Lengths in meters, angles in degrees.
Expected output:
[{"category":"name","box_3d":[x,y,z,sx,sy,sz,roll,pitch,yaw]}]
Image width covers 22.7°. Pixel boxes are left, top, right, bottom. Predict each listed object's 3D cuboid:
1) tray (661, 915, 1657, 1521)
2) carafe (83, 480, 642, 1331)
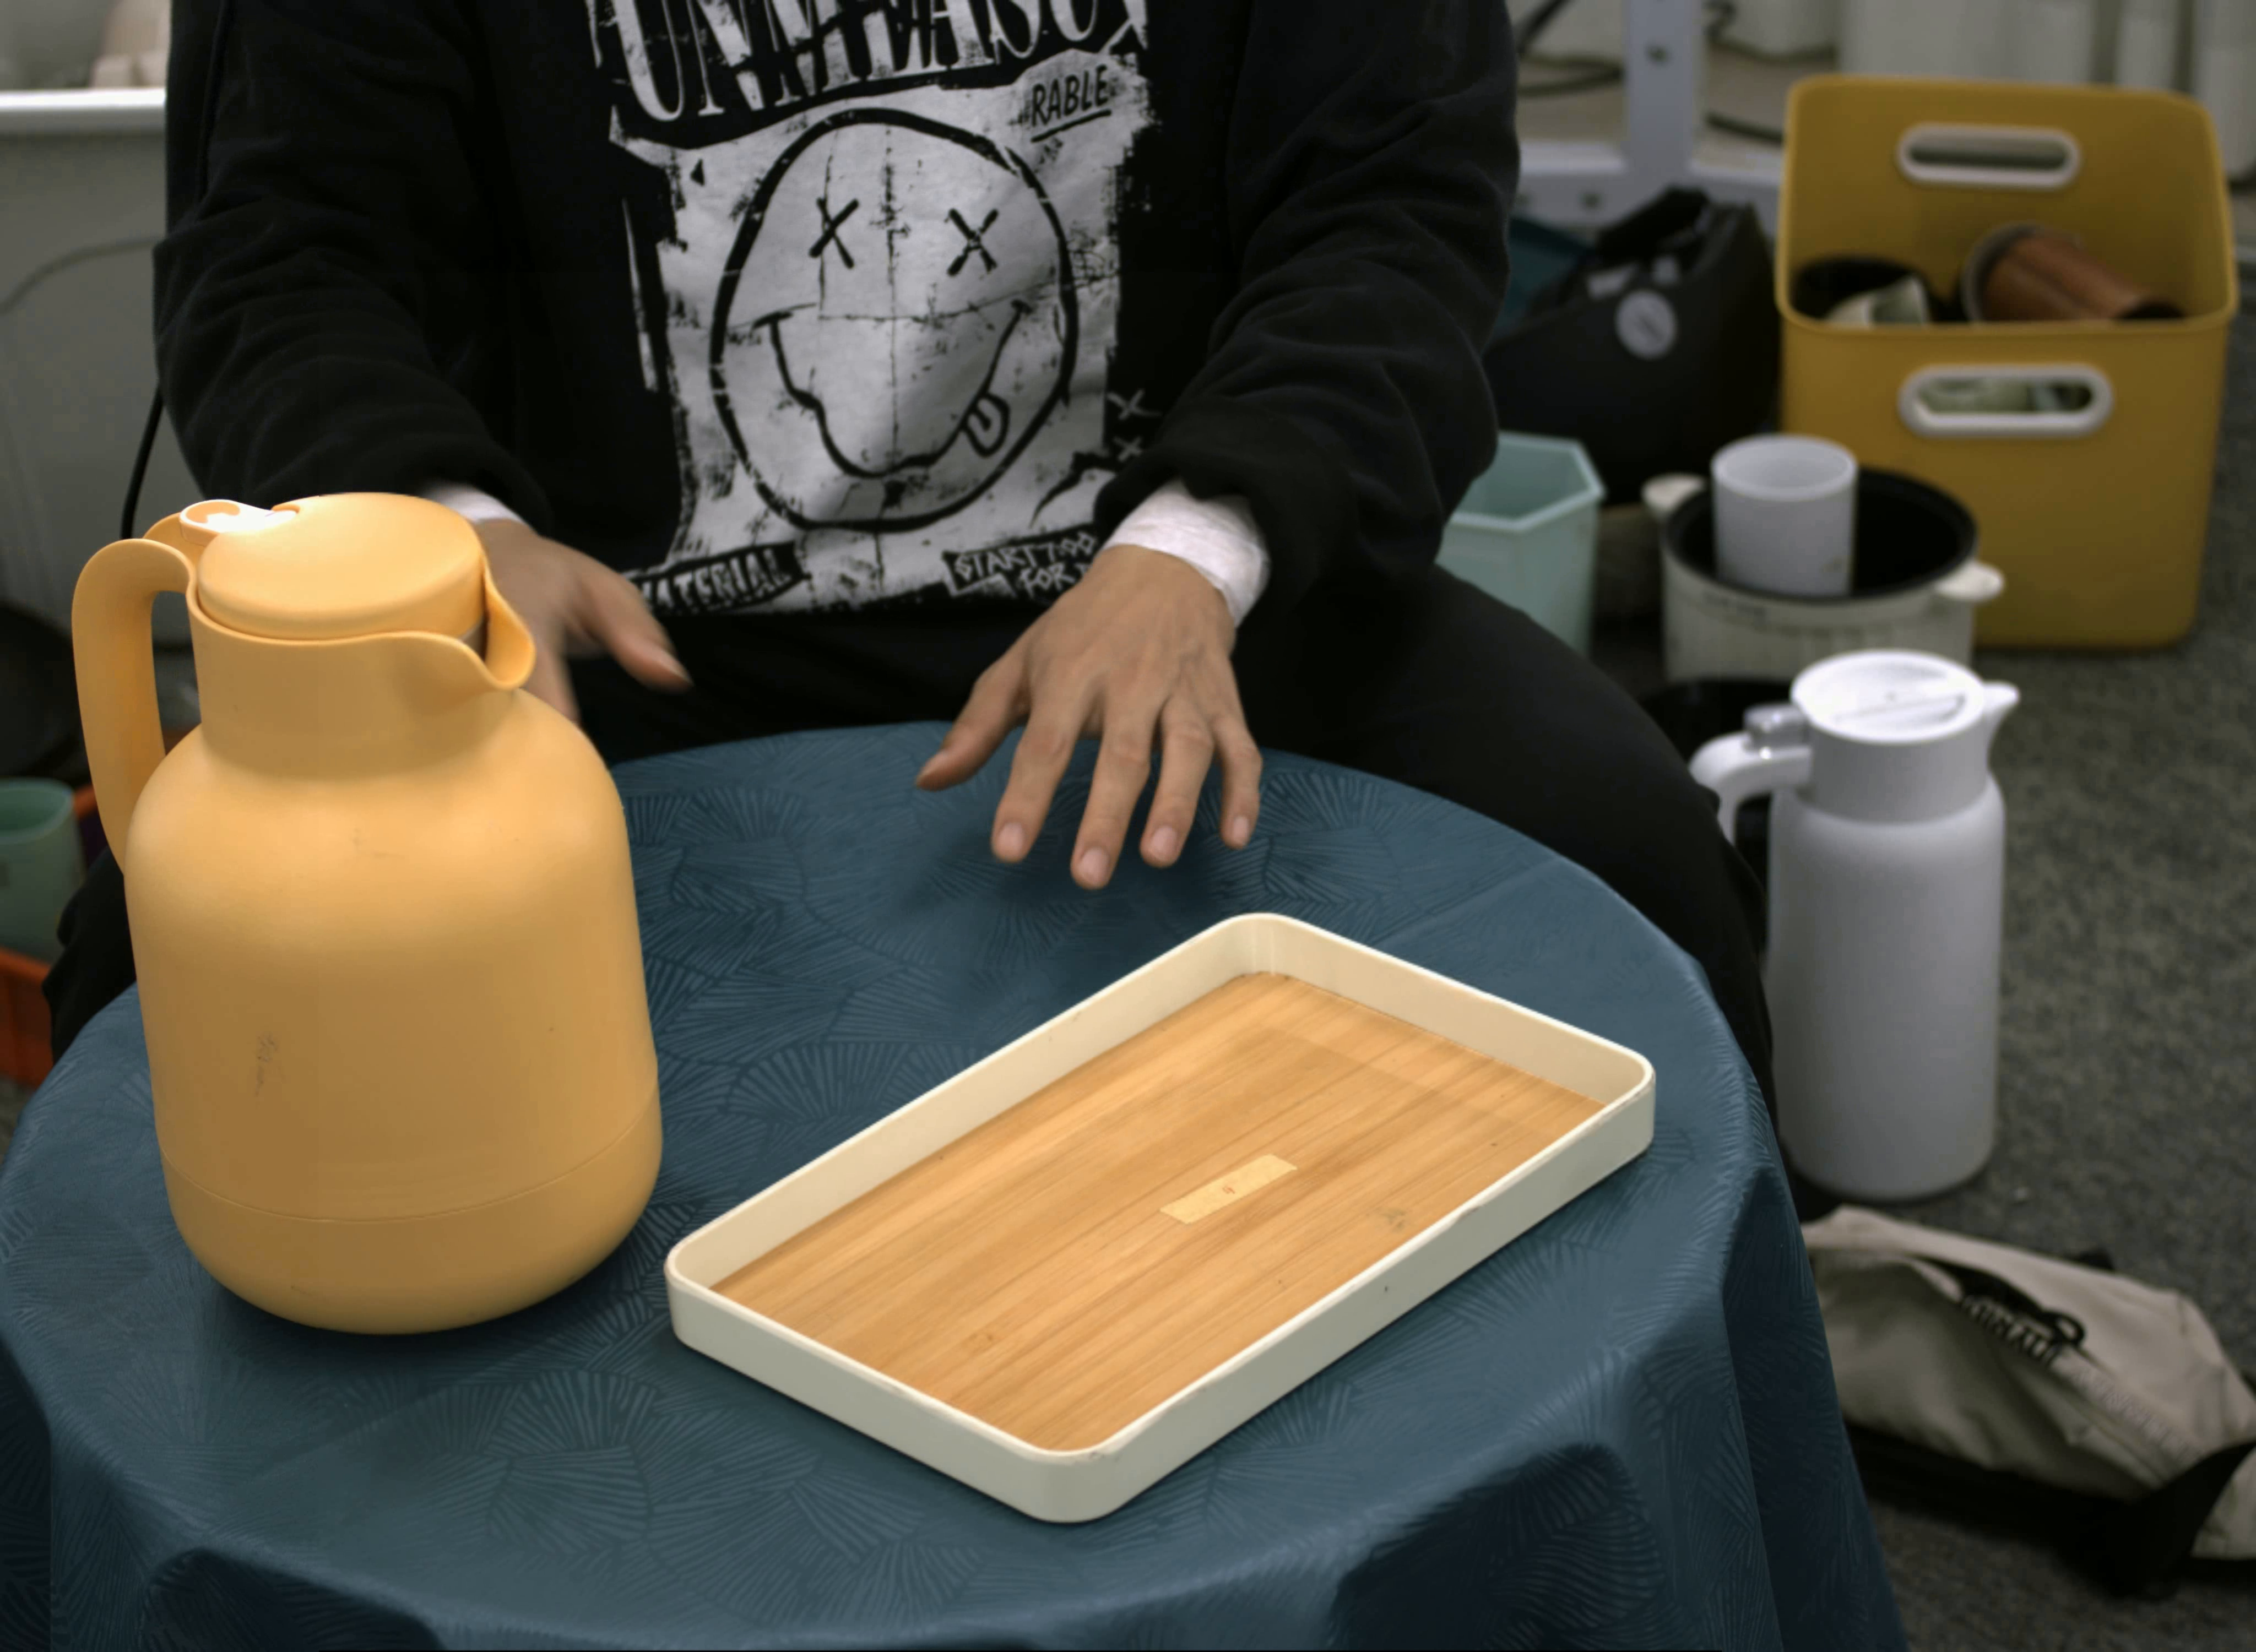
[{"category":"tray","box_3d":[0.014,0.121,1.830,0.191,0.027,0.304,21,35,37]},{"category":"carafe","box_3d":[-0.254,0.015,1.807,0.202,0.258,0.165,21,32,36]}]
